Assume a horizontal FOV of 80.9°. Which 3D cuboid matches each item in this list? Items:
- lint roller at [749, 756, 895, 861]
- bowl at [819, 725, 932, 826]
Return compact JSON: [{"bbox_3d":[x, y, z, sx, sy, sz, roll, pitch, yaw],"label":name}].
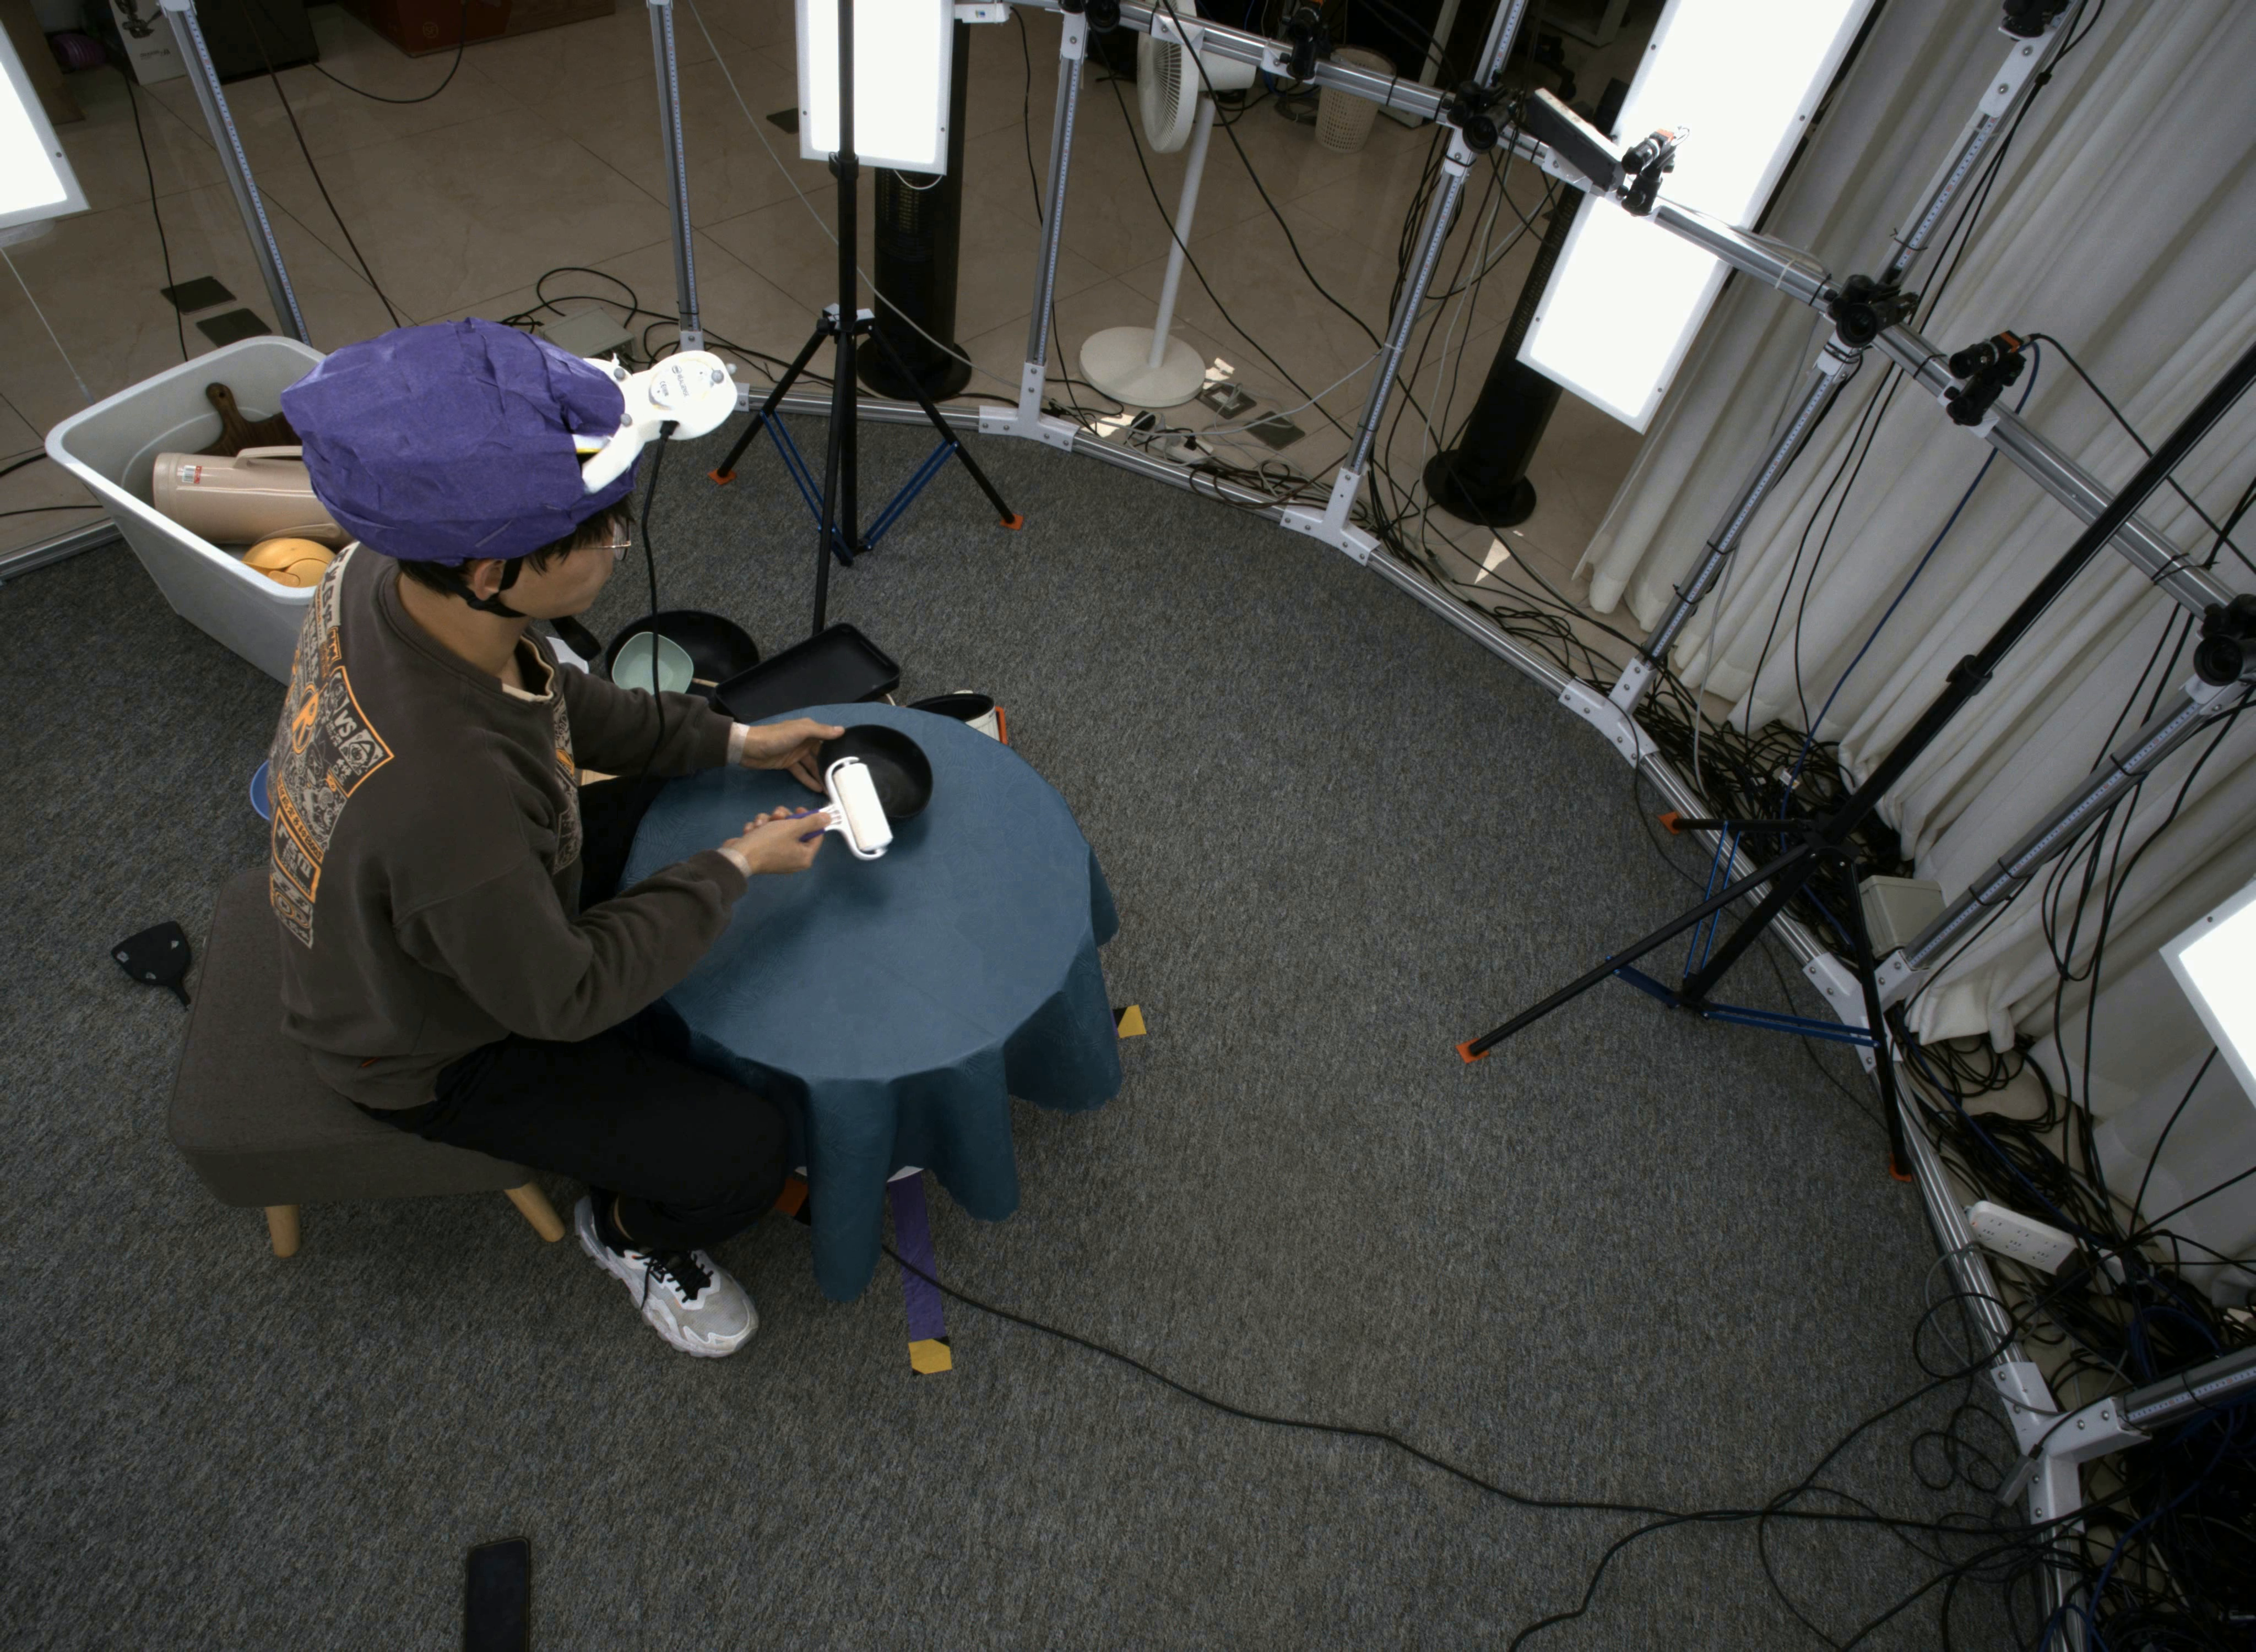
[{"bbox_3d":[-0.383,-0.009,1.608,0.183,0.049,0.134,-19,91,-43],"label":"lint roller"},{"bbox_3d":[-0.341,-0.059,1.762,0.167,0.068,0.137,38,56,13],"label":"bowl"}]
